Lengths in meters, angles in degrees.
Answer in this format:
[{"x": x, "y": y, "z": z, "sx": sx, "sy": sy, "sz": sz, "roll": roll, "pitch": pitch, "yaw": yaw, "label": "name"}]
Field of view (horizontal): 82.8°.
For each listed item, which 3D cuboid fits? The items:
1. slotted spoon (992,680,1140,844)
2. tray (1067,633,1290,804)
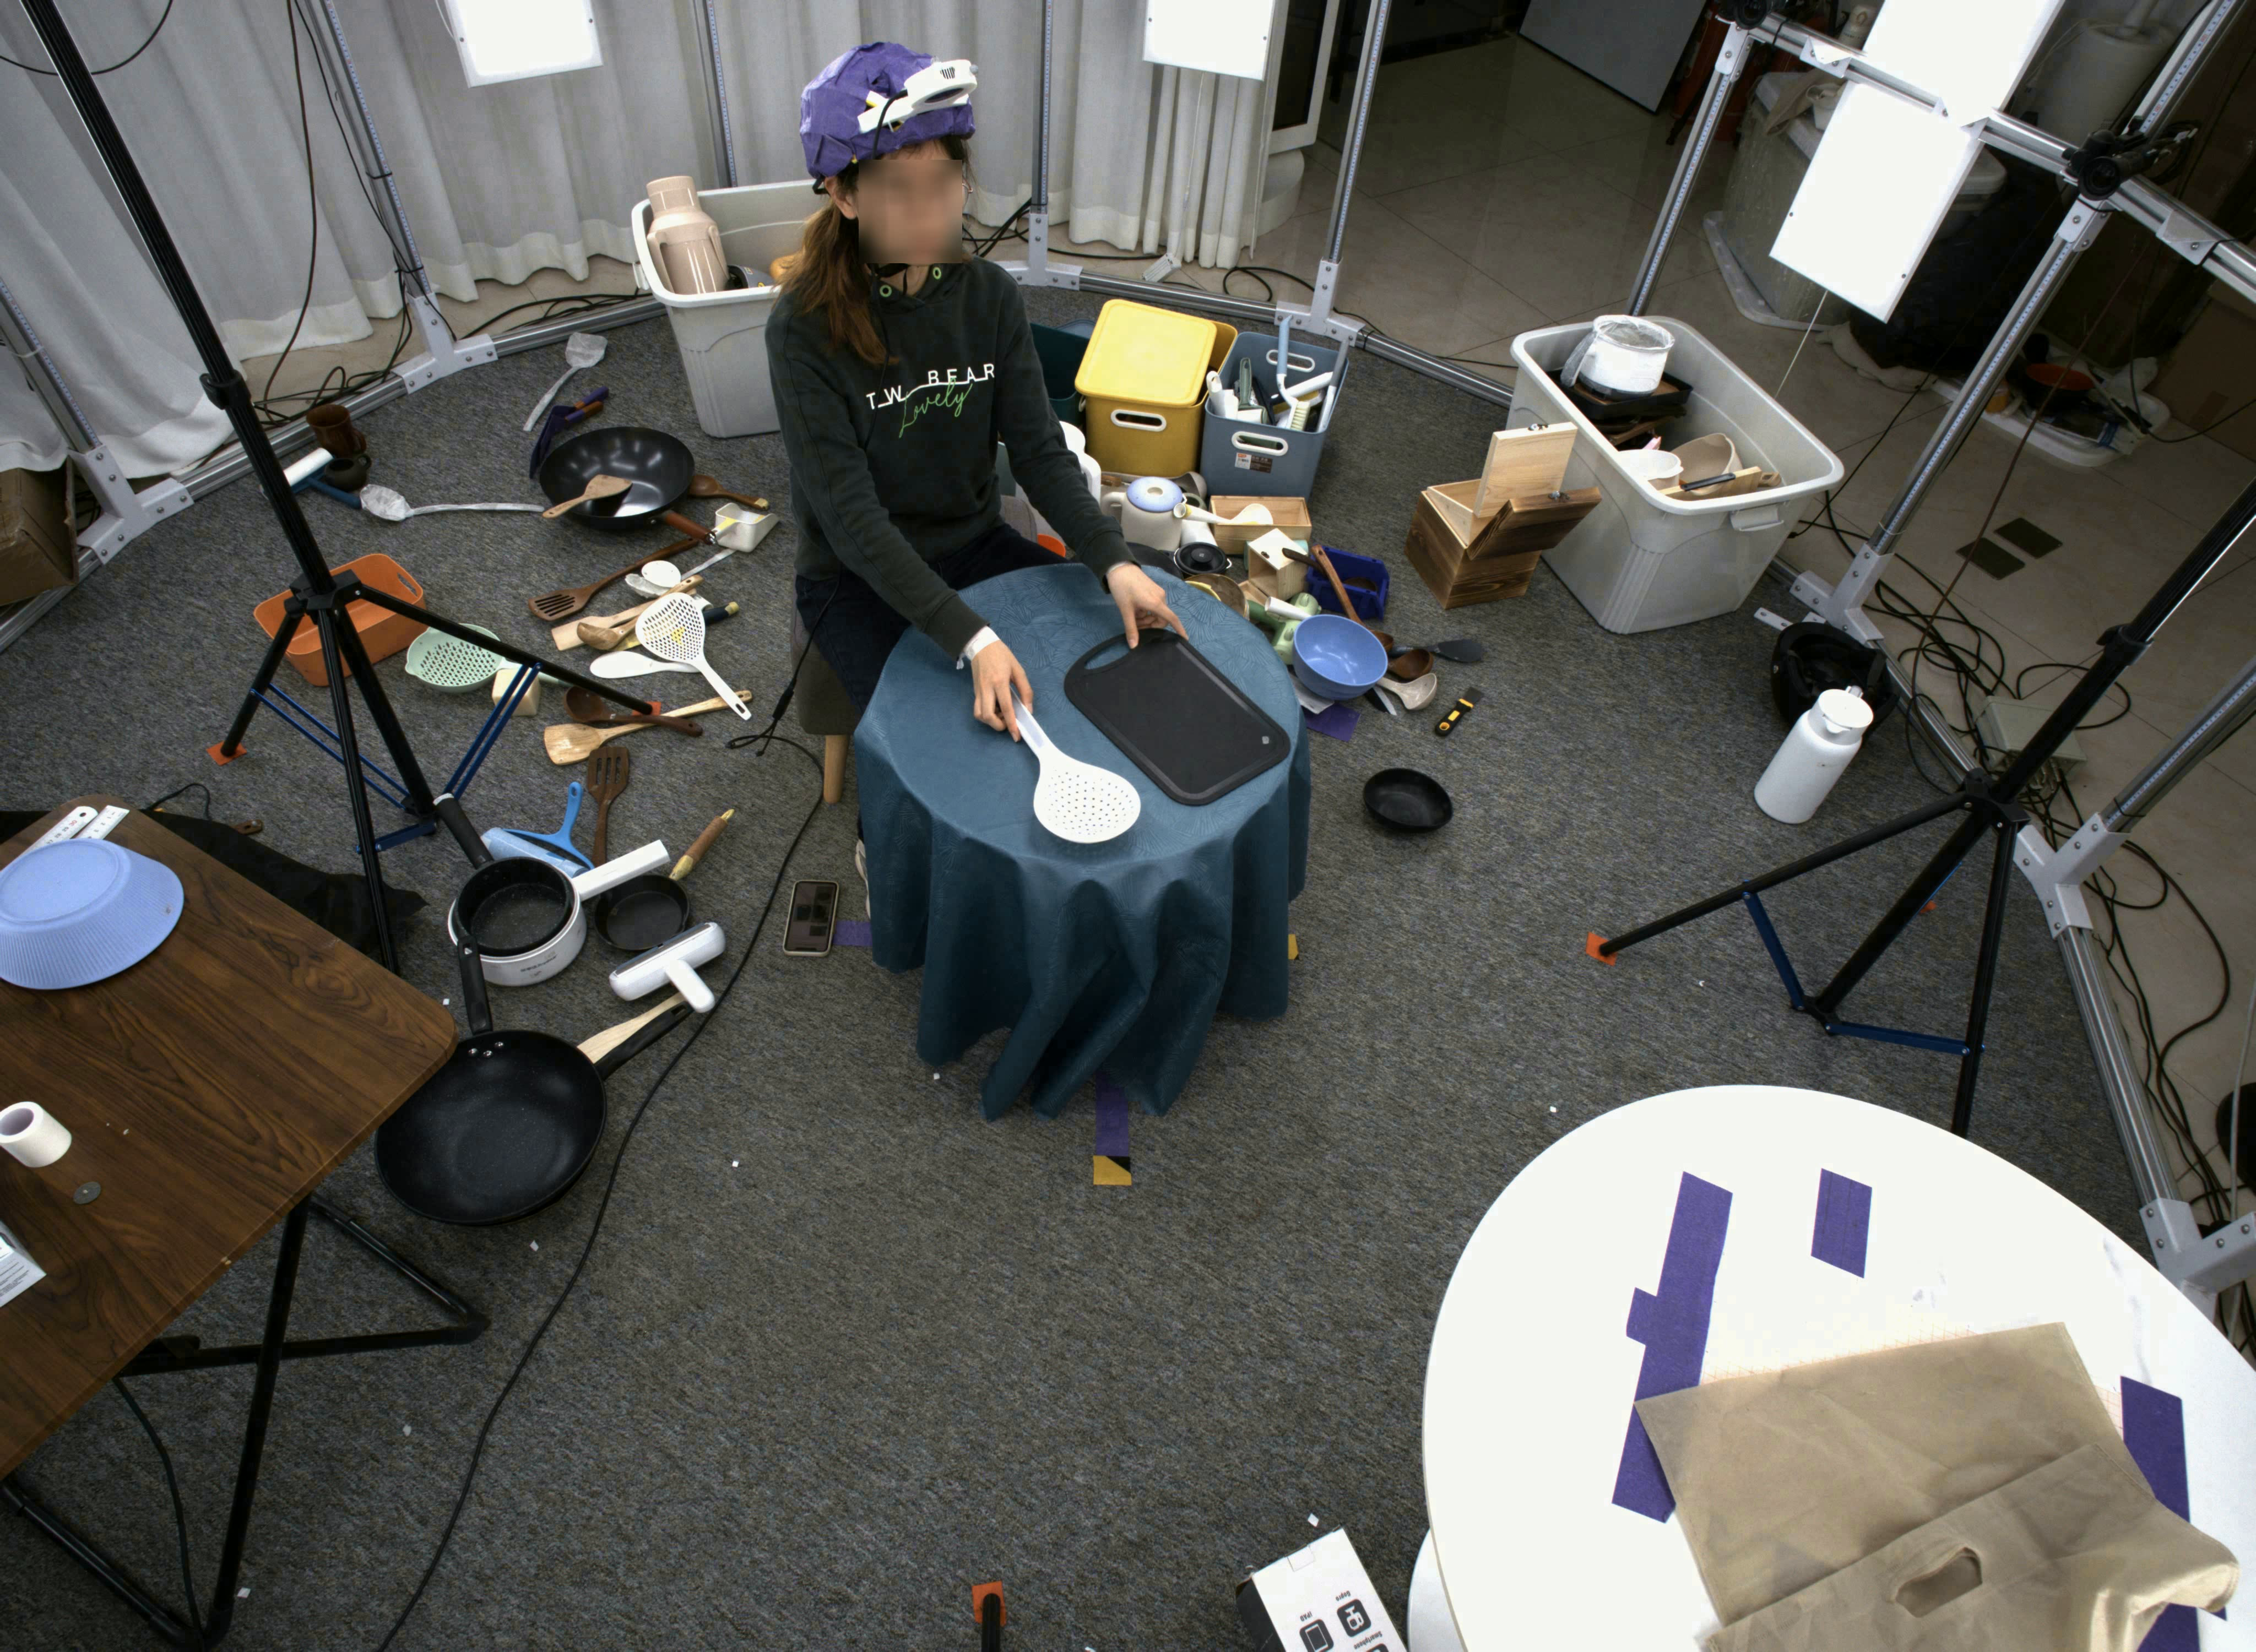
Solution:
[{"x": -0.104, "y": -0.092, "z": 1.727, "sx": 0.136, "sy": 0.044, "sz": 0.357, "roll": -18, "pitch": 51, "yaw": -21, "label": "slotted spoon"}, {"x": 0.063, "y": -0.165, "z": 1.825, "sx": 0.212, "sy": 0.009, "sz": 0.331, "roll": -29, "pitch": 57, "yaw": -25, "label": "tray"}]
